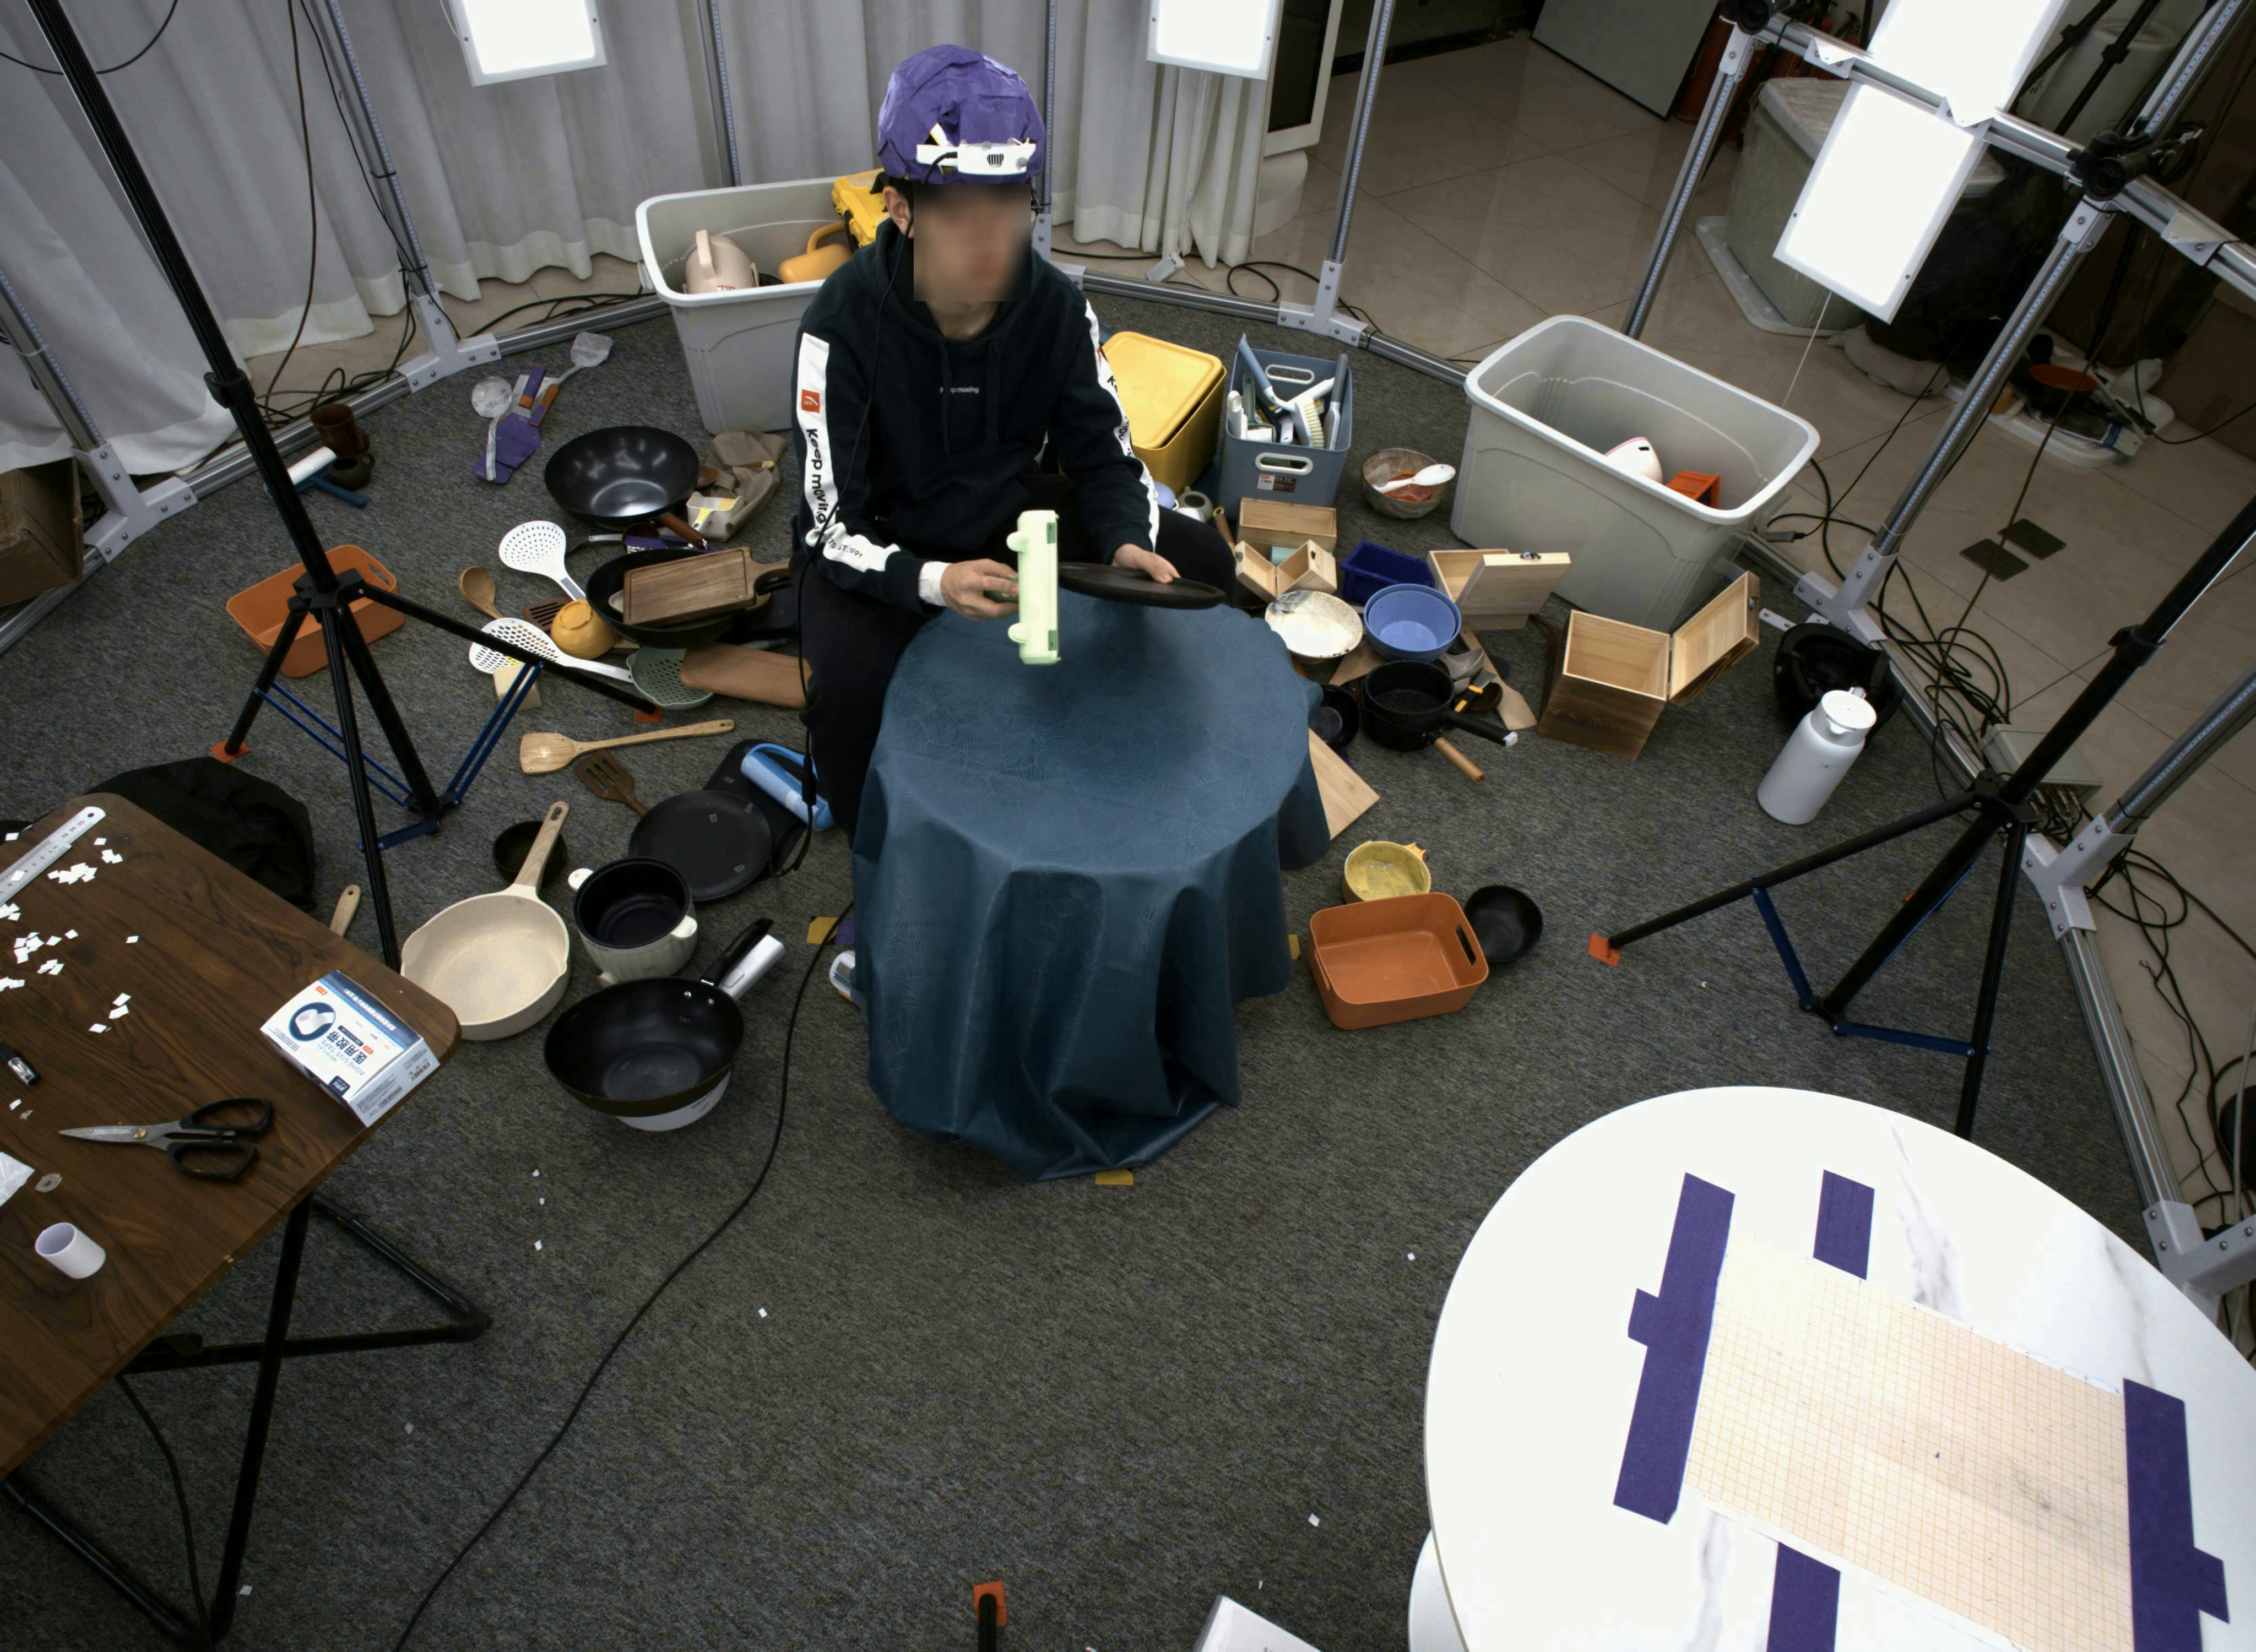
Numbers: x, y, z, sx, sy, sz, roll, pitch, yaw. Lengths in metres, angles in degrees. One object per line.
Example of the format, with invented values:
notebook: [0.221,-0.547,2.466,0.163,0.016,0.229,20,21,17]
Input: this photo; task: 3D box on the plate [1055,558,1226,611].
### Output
plate: [0.007,-0.329,1.762,0.254,0.028,0.258,8,18,-3]

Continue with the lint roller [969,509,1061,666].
lint roller: [-0.164,-0.309,1.689,0.184,0.198,0.082,4,6,39]
